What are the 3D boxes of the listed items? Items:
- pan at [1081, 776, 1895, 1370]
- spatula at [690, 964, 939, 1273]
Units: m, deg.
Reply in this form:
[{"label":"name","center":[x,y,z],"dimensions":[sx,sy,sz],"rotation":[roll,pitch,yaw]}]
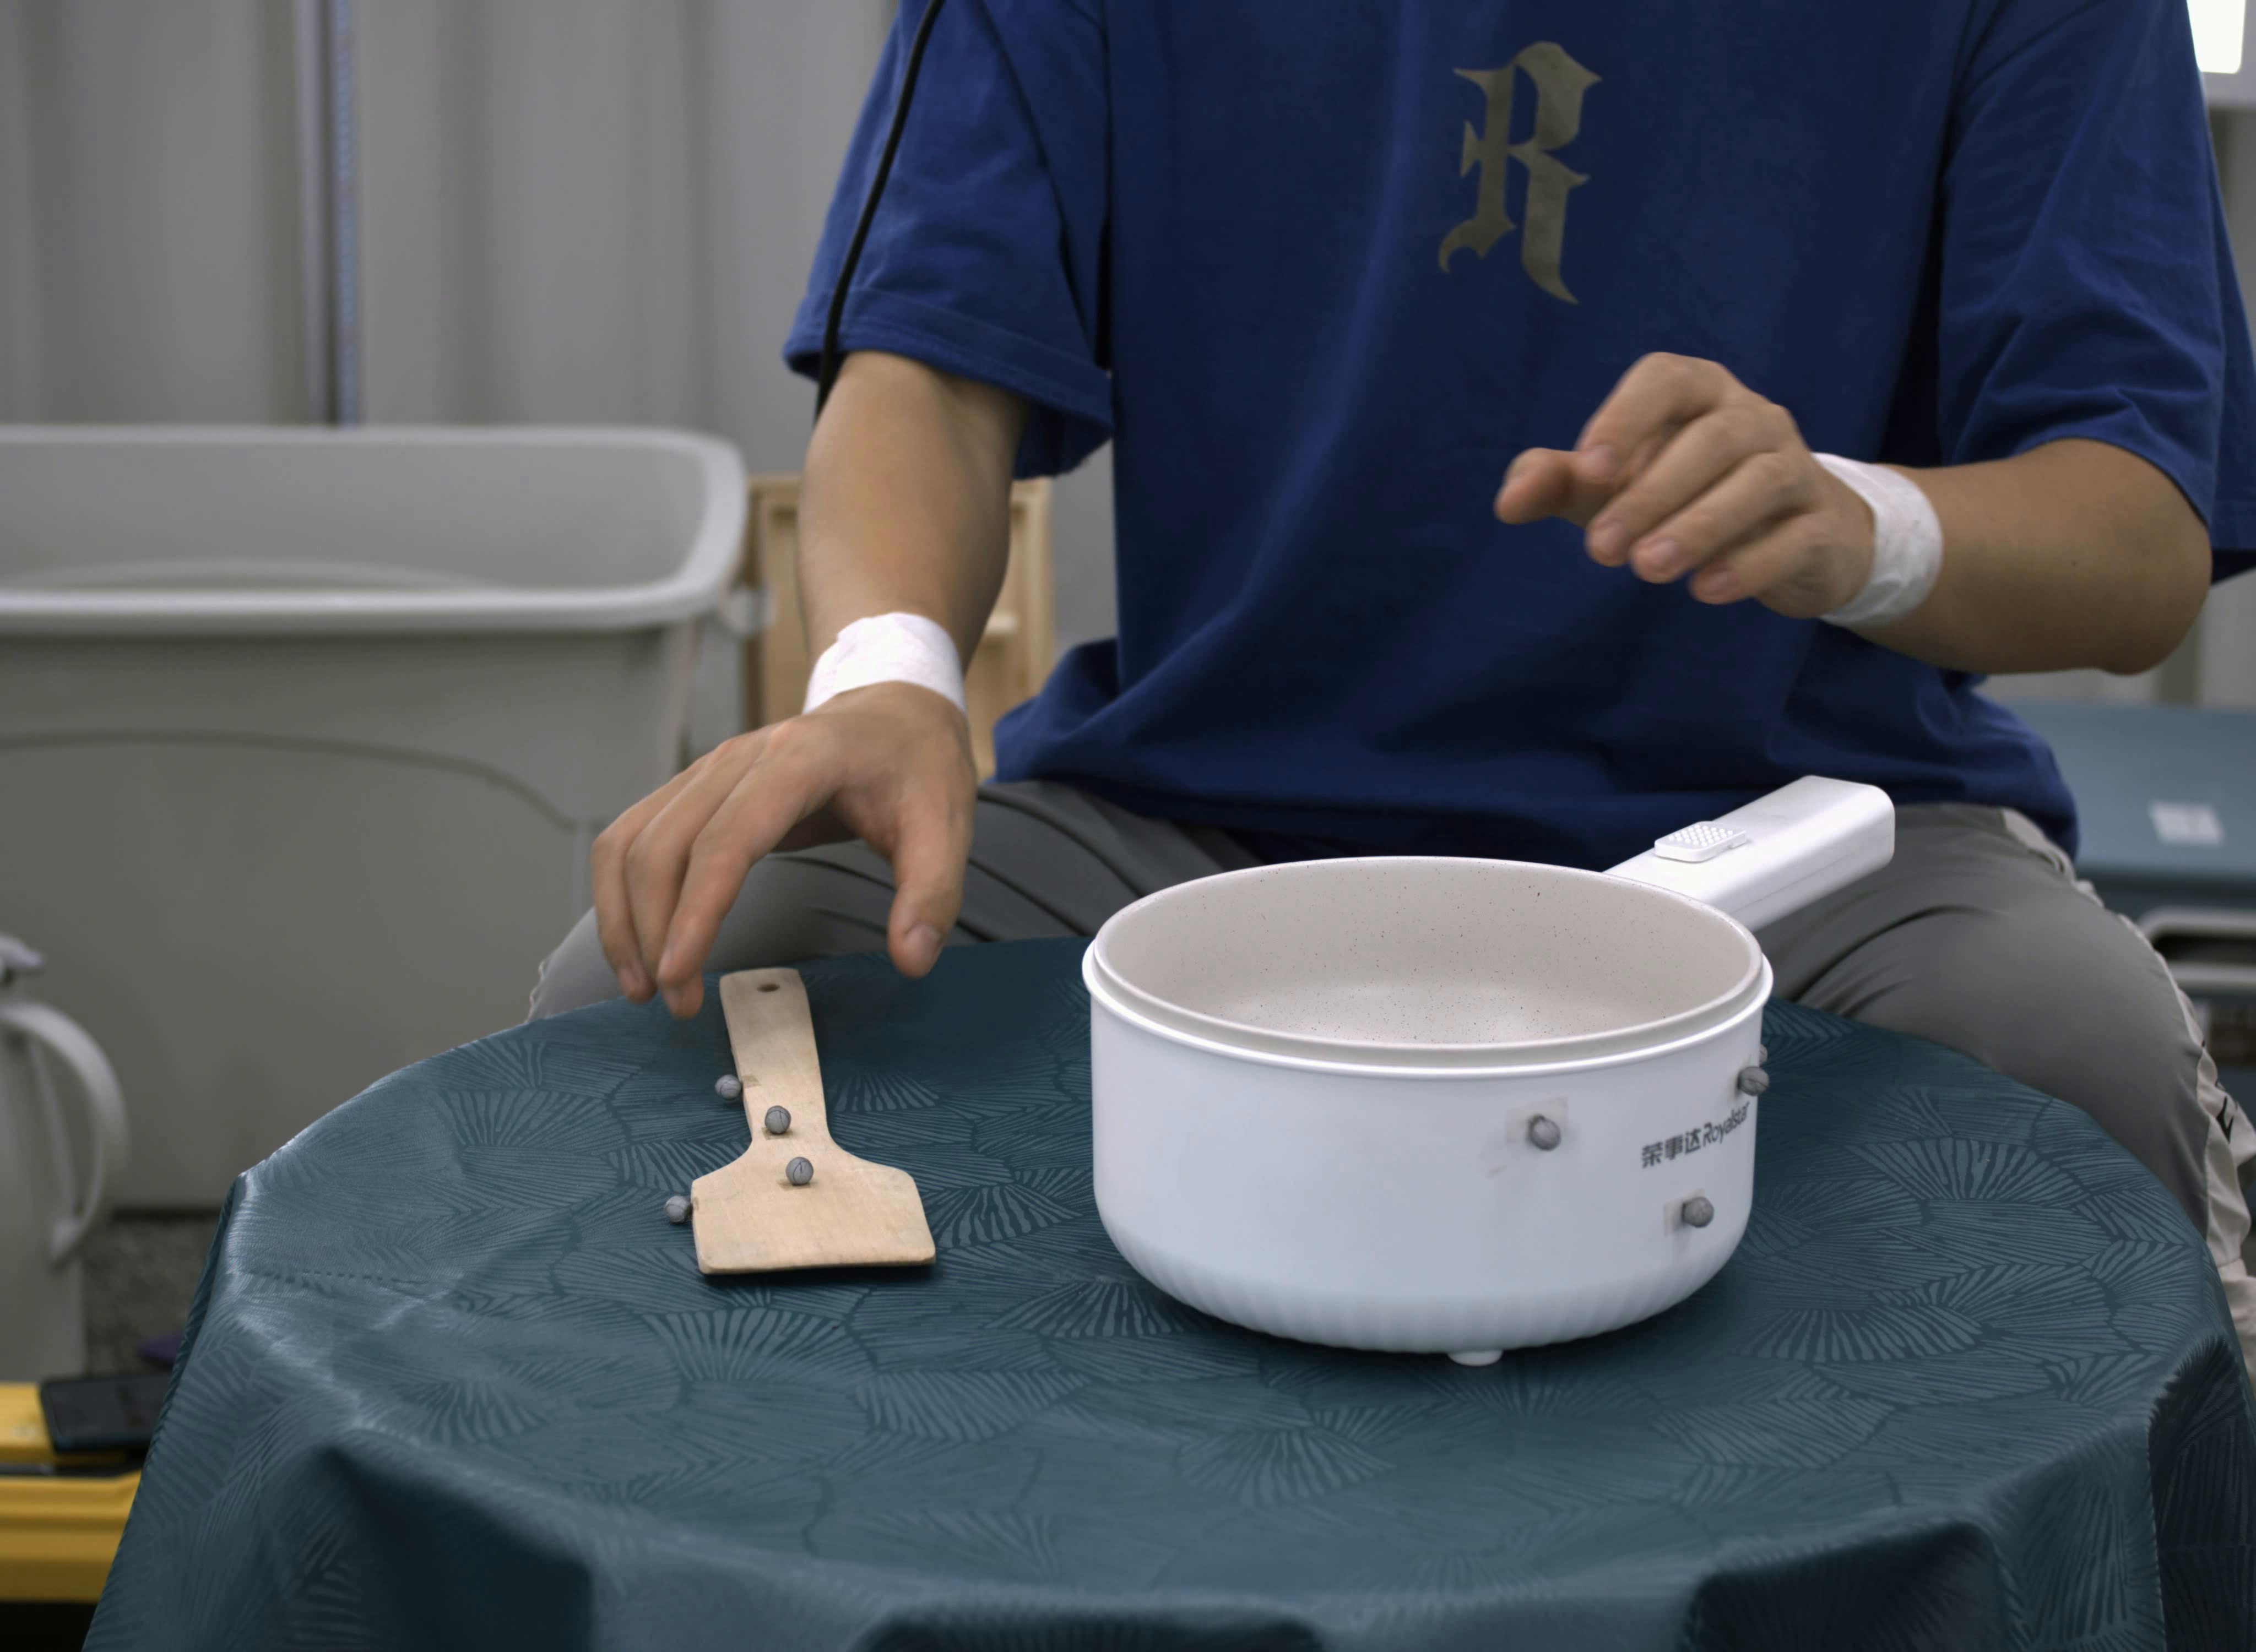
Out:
[{"label":"pan","center":[0.132,0.068,1.604],"dimensions":[0.199,0.103,0.356],"rotation":[9,18,34]},{"label":"spatula","center":[-0.108,0.091,1.677],"dimensions":[0.072,0.011,0.291],"rotation":[-2,16,-7]}]
